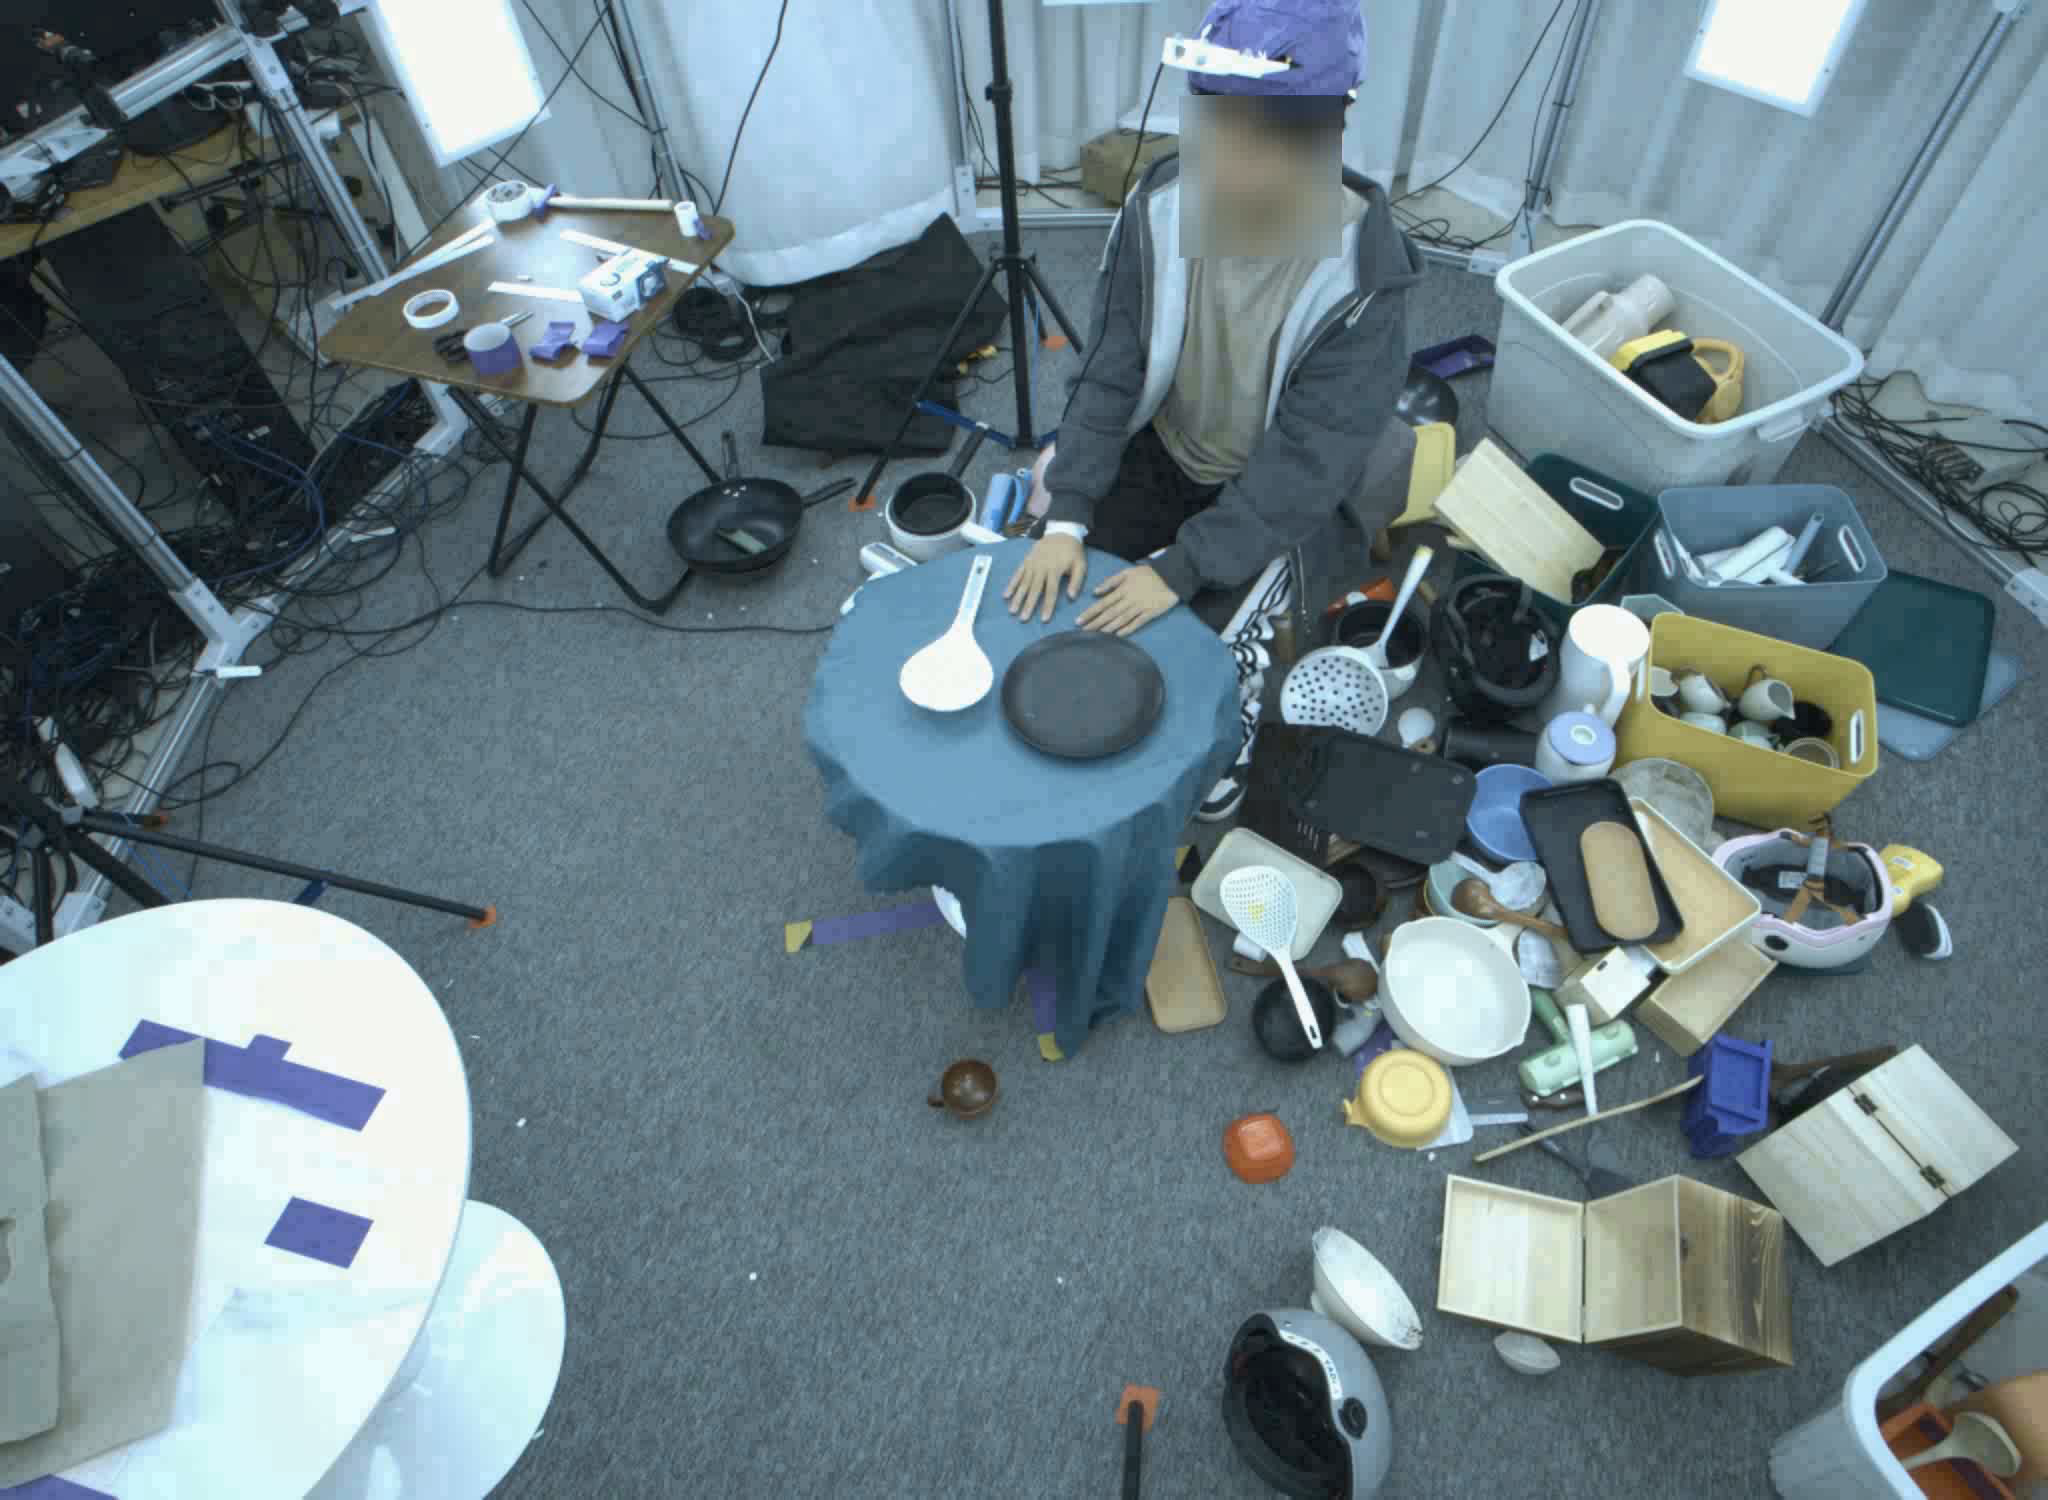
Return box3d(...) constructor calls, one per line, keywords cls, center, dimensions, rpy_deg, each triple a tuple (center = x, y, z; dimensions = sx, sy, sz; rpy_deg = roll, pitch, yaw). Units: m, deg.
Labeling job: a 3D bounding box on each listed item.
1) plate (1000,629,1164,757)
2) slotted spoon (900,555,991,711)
box3d(cls="plate", center=(0.086, -0.083, 1.832), dimensions=(0.244, 0.024, 0.242), rpy_deg=(0, 55, 2))
box3d(cls="slotted spoon", center=(-0.098, -0.185, 1.897), dimensions=(0.135, 0.046, 0.347), rpy_deg=(8, 54, 5))
